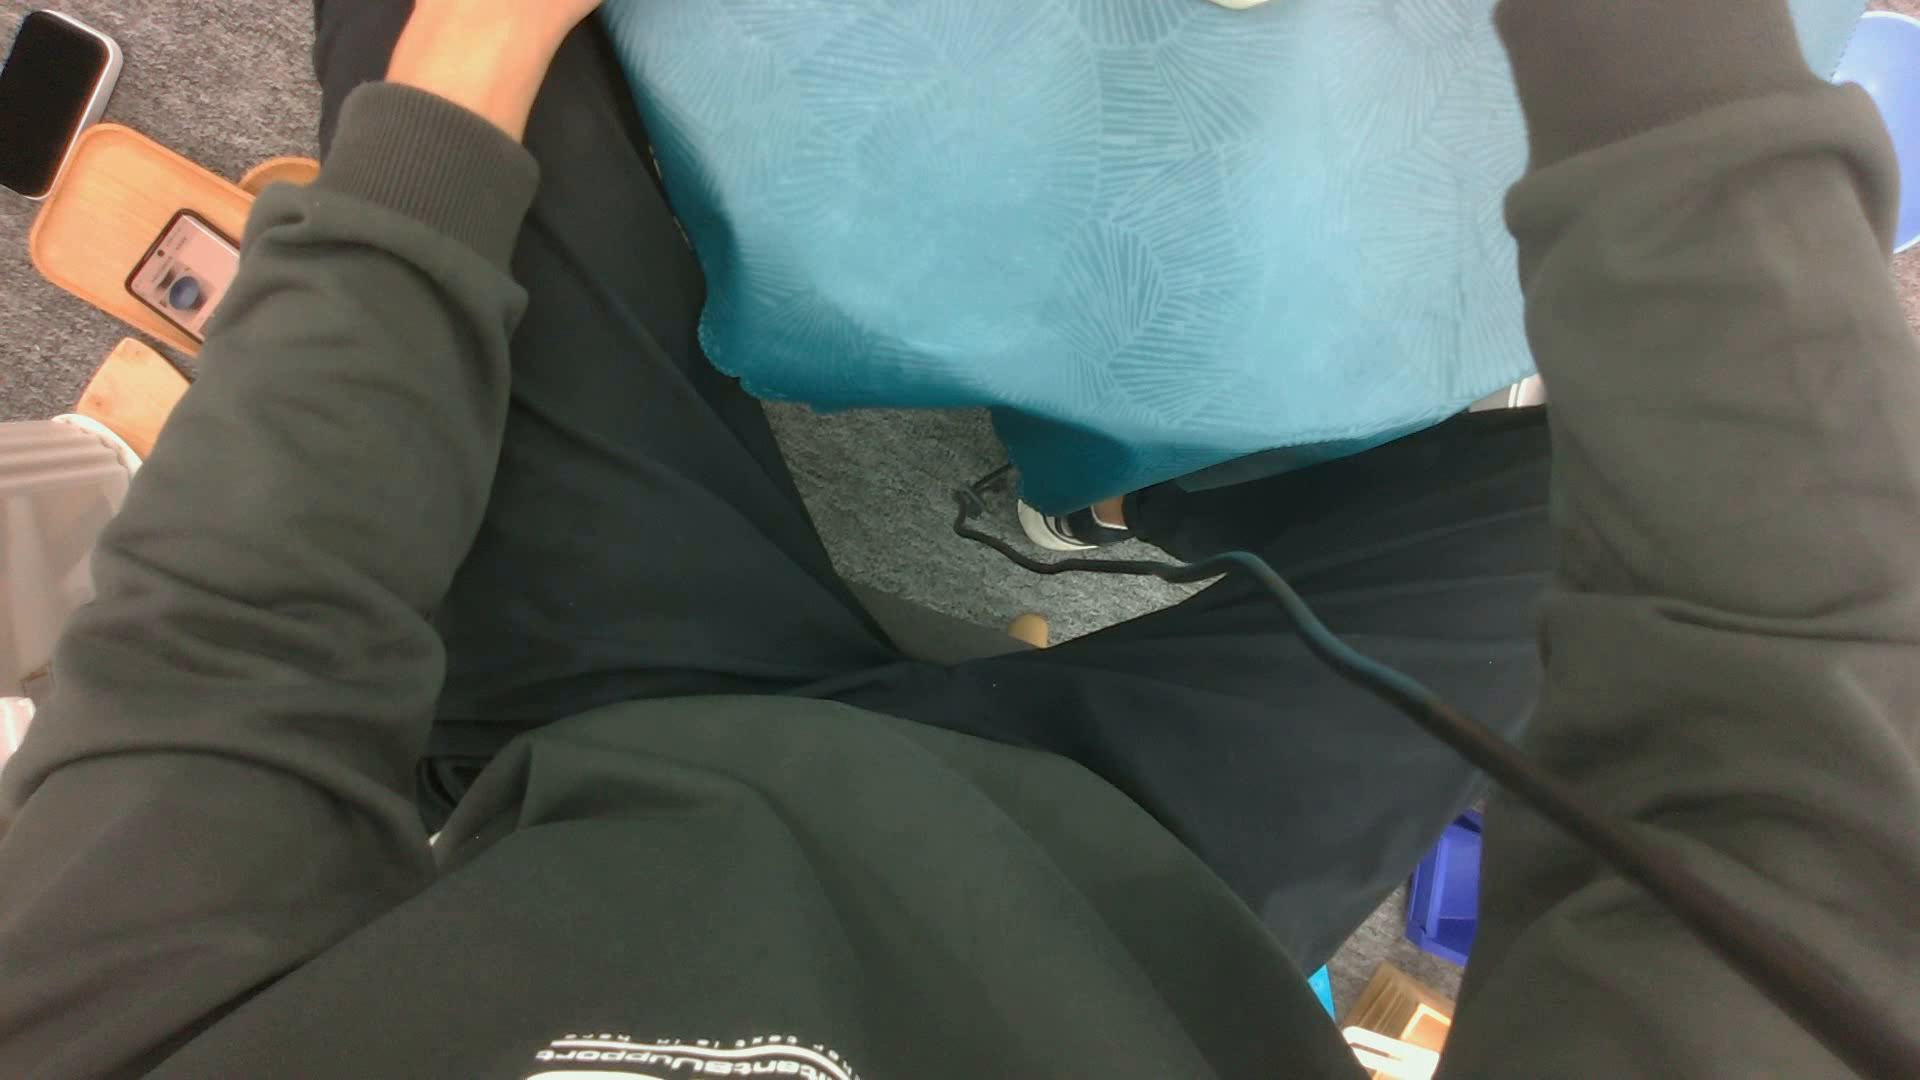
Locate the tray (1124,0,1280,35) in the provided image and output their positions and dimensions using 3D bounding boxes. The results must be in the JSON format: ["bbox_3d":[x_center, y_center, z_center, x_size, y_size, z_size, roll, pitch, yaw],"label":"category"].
[{"bbox_3d":[0.013,-0.339,0.545,0.300,0.027,0.191,16,97,-11],"label":"tray"}]
